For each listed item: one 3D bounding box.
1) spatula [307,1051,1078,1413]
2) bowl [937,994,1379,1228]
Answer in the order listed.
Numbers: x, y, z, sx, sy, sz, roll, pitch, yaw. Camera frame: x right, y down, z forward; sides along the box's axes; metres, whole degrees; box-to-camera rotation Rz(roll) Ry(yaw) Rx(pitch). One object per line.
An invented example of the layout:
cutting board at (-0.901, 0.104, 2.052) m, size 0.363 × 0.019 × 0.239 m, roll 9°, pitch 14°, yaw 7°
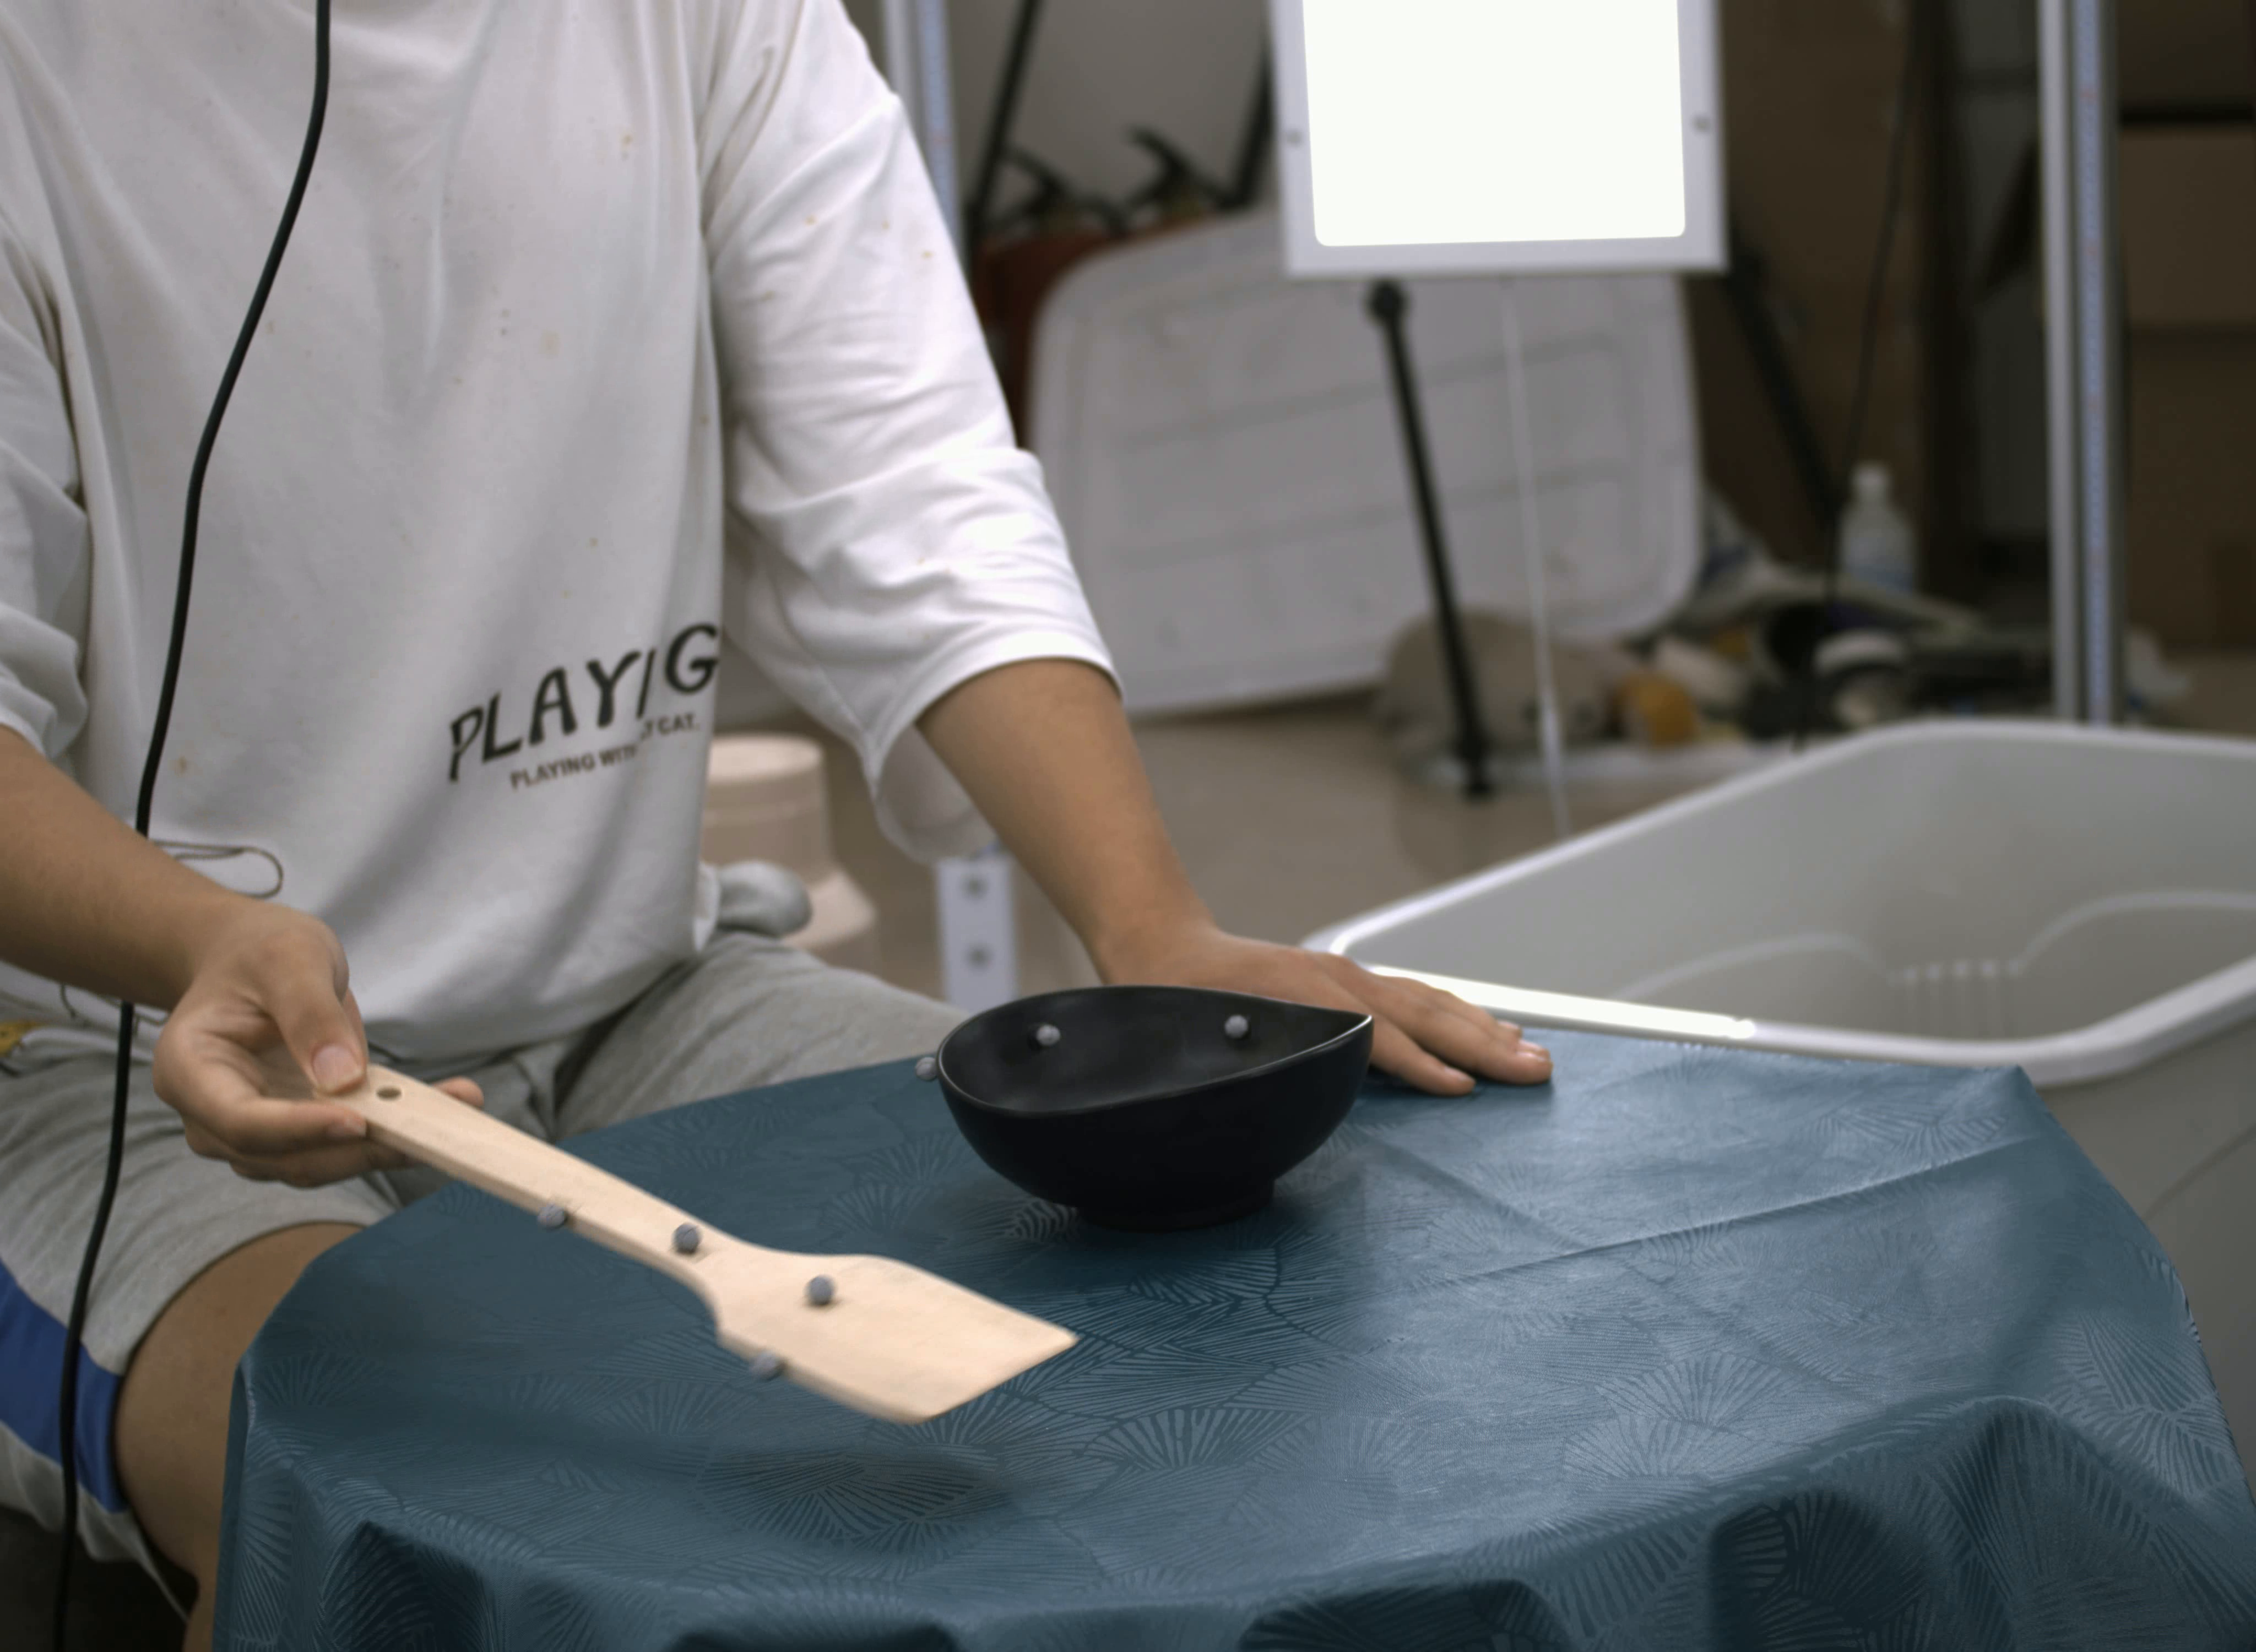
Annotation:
spatula at (-0.147, 0.120, 1.694) m, size 0.298 × 0.011 × 0.070 m, roll 20°, pitch 30°, yaw 36°
bowl at (0.013, 0.098, 1.878) m, size 0.140 × 0.067 × 0.166 m, roll 6°, pitch 15°, yaw 40°
